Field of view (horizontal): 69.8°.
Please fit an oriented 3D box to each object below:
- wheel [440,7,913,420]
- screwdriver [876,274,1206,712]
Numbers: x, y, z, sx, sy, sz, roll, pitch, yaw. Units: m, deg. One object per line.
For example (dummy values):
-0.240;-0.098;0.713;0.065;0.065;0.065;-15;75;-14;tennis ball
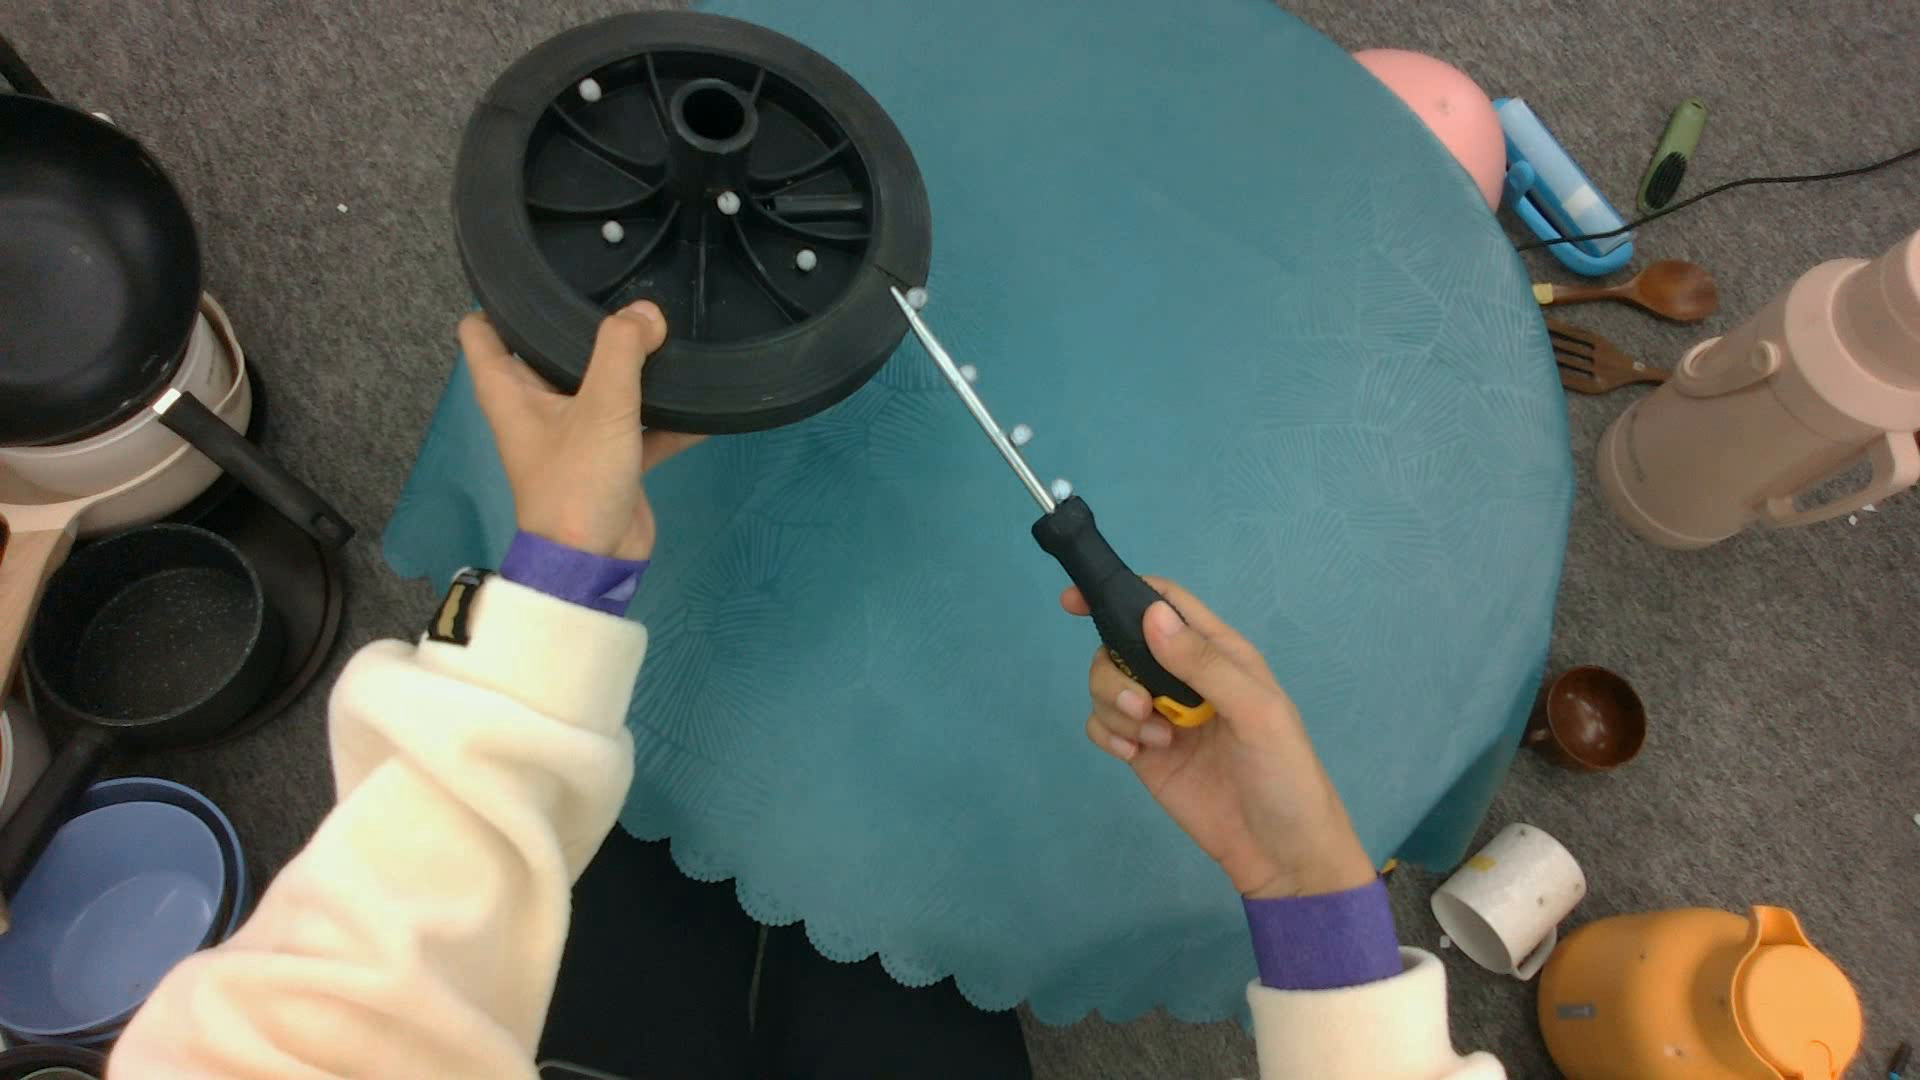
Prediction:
-0.104;-0.144;0.541;0.190;0.079;0.187;-31;80;-26;wheel
0.027;-0.017;0.518;0.031;0.031;0.198;-38;92;-19;screwdriver
